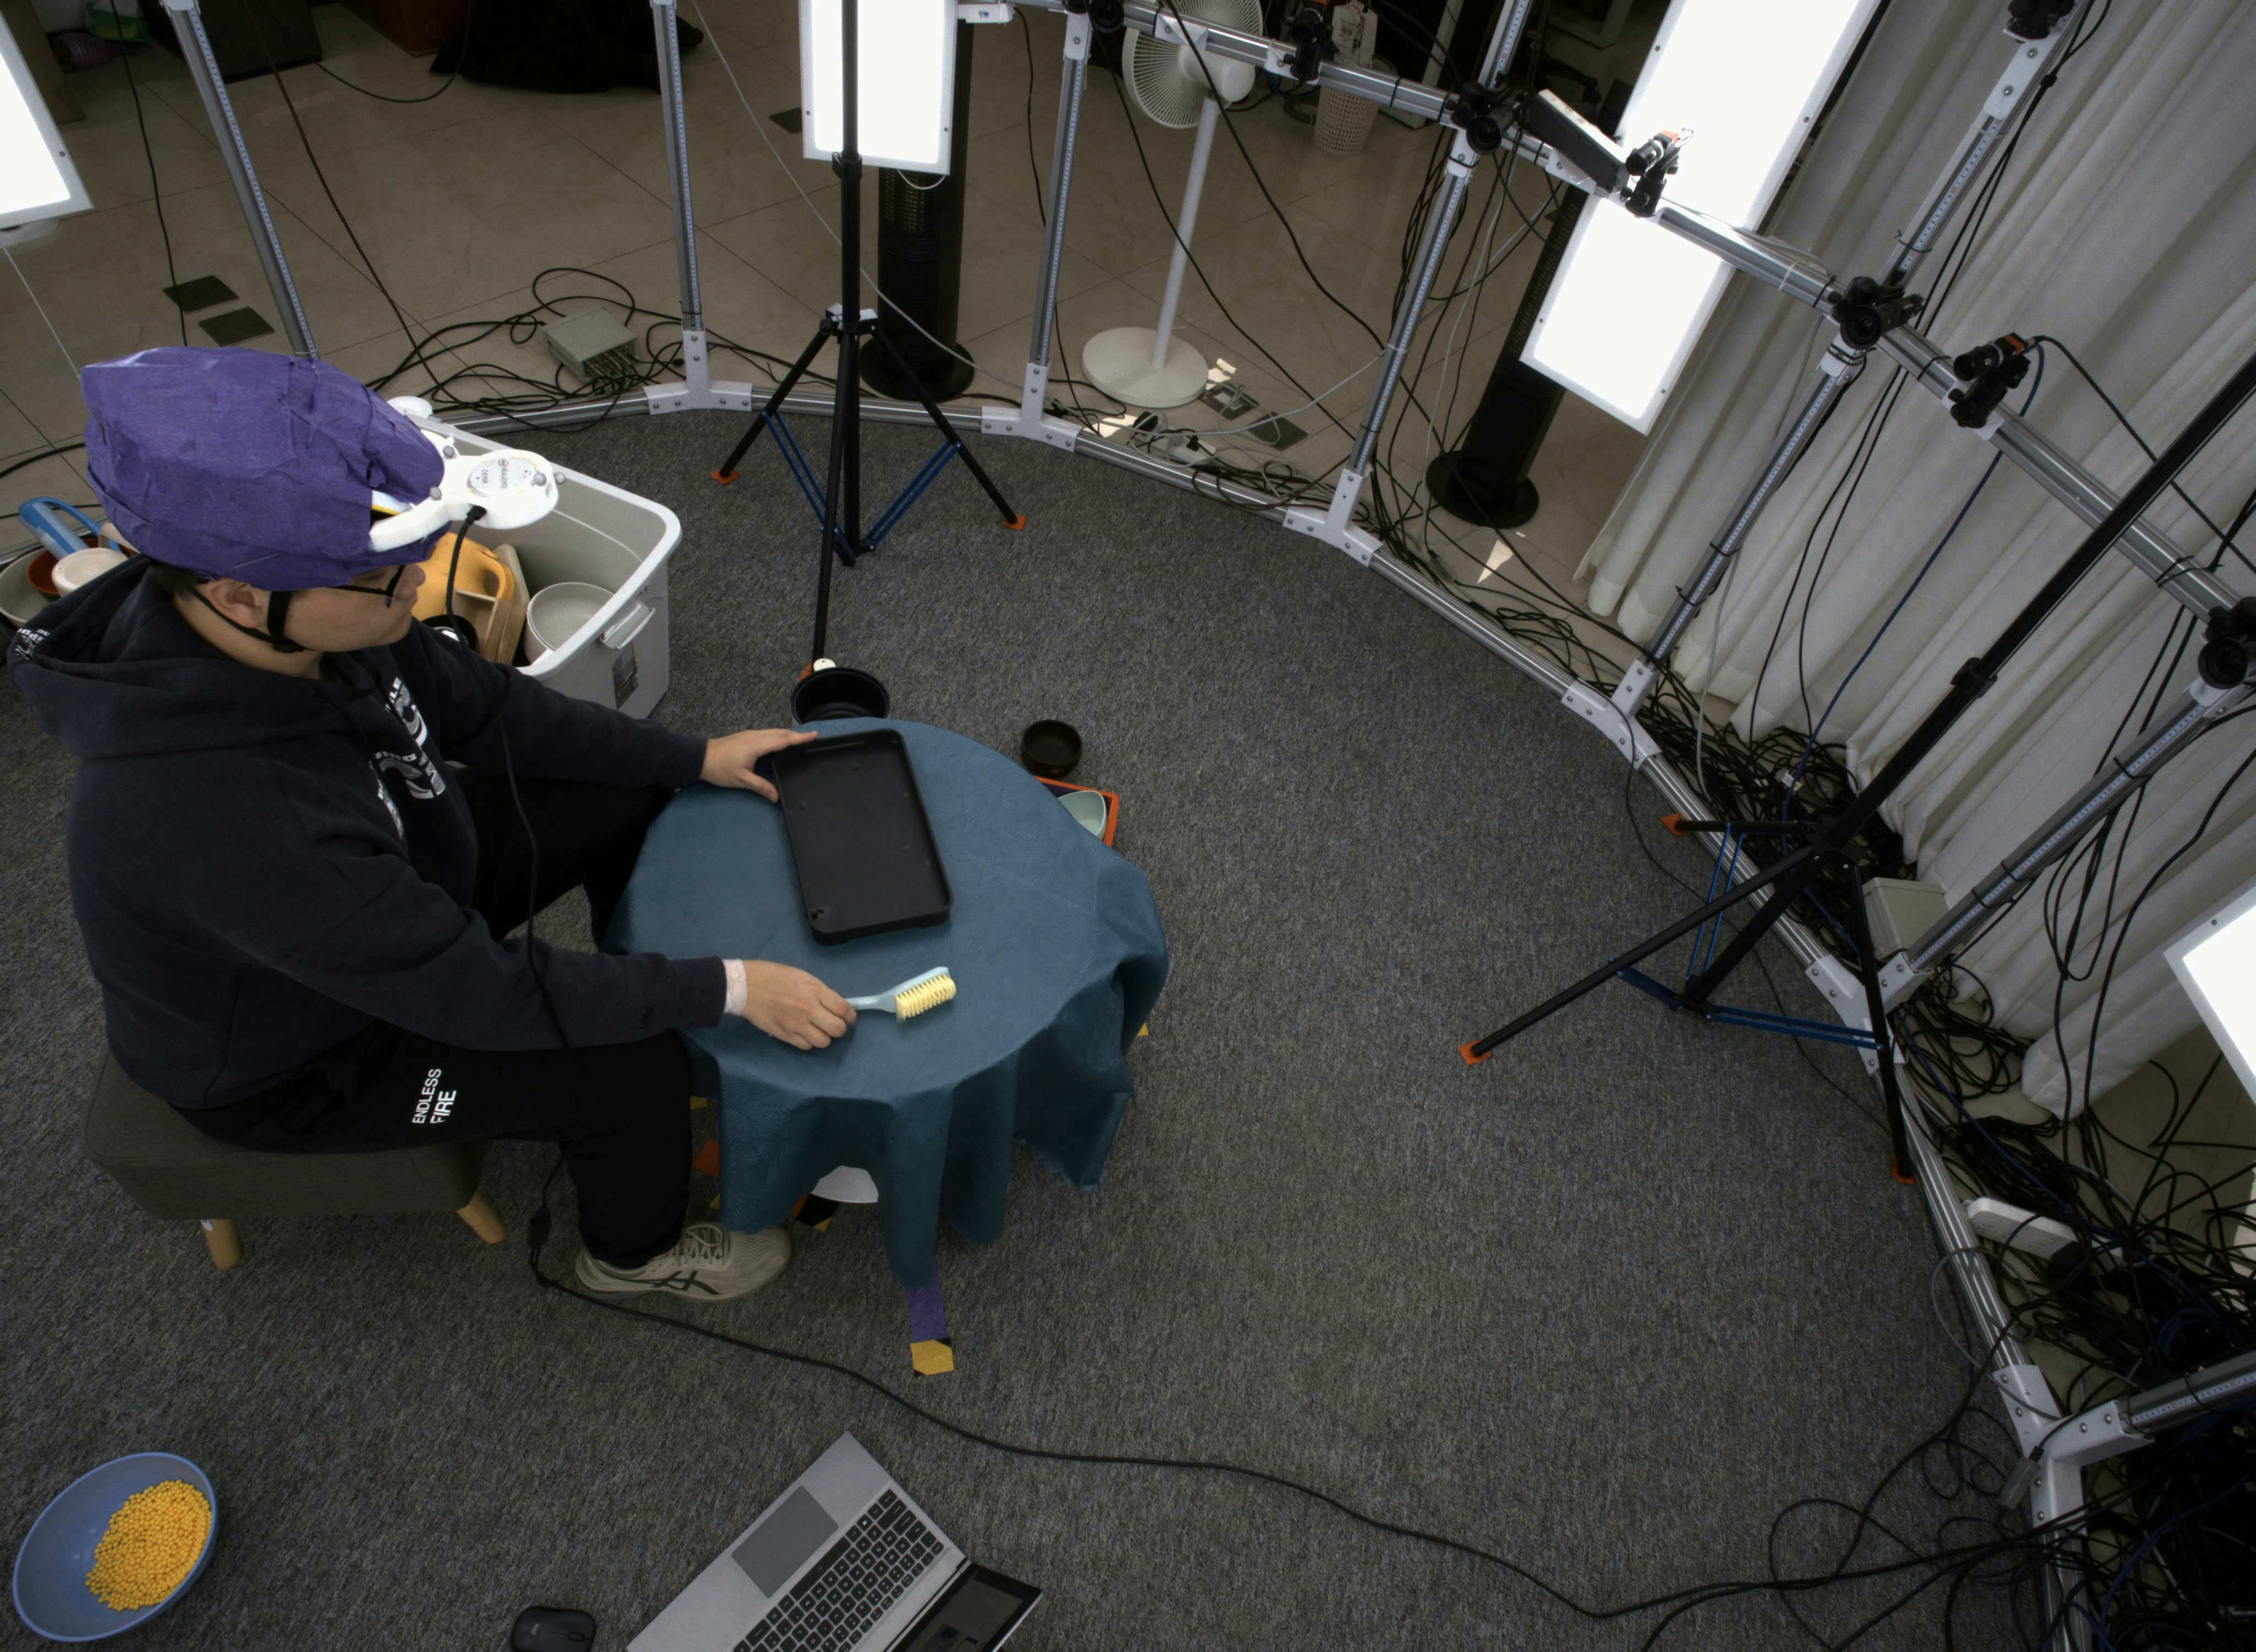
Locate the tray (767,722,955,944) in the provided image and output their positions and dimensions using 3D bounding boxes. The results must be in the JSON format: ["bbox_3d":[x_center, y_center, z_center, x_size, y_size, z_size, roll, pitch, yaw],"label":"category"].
[{"bbox_3d":[-0.355,0.002,1.713,0.185,0.038,0.310,-12,58,-21],"label":"tray"}]

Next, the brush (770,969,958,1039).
[{"bbox_3d":[-0.315,0.218,1.559,0.230,0.039,0.048,-12,45,-21],"label":"brush"}]
